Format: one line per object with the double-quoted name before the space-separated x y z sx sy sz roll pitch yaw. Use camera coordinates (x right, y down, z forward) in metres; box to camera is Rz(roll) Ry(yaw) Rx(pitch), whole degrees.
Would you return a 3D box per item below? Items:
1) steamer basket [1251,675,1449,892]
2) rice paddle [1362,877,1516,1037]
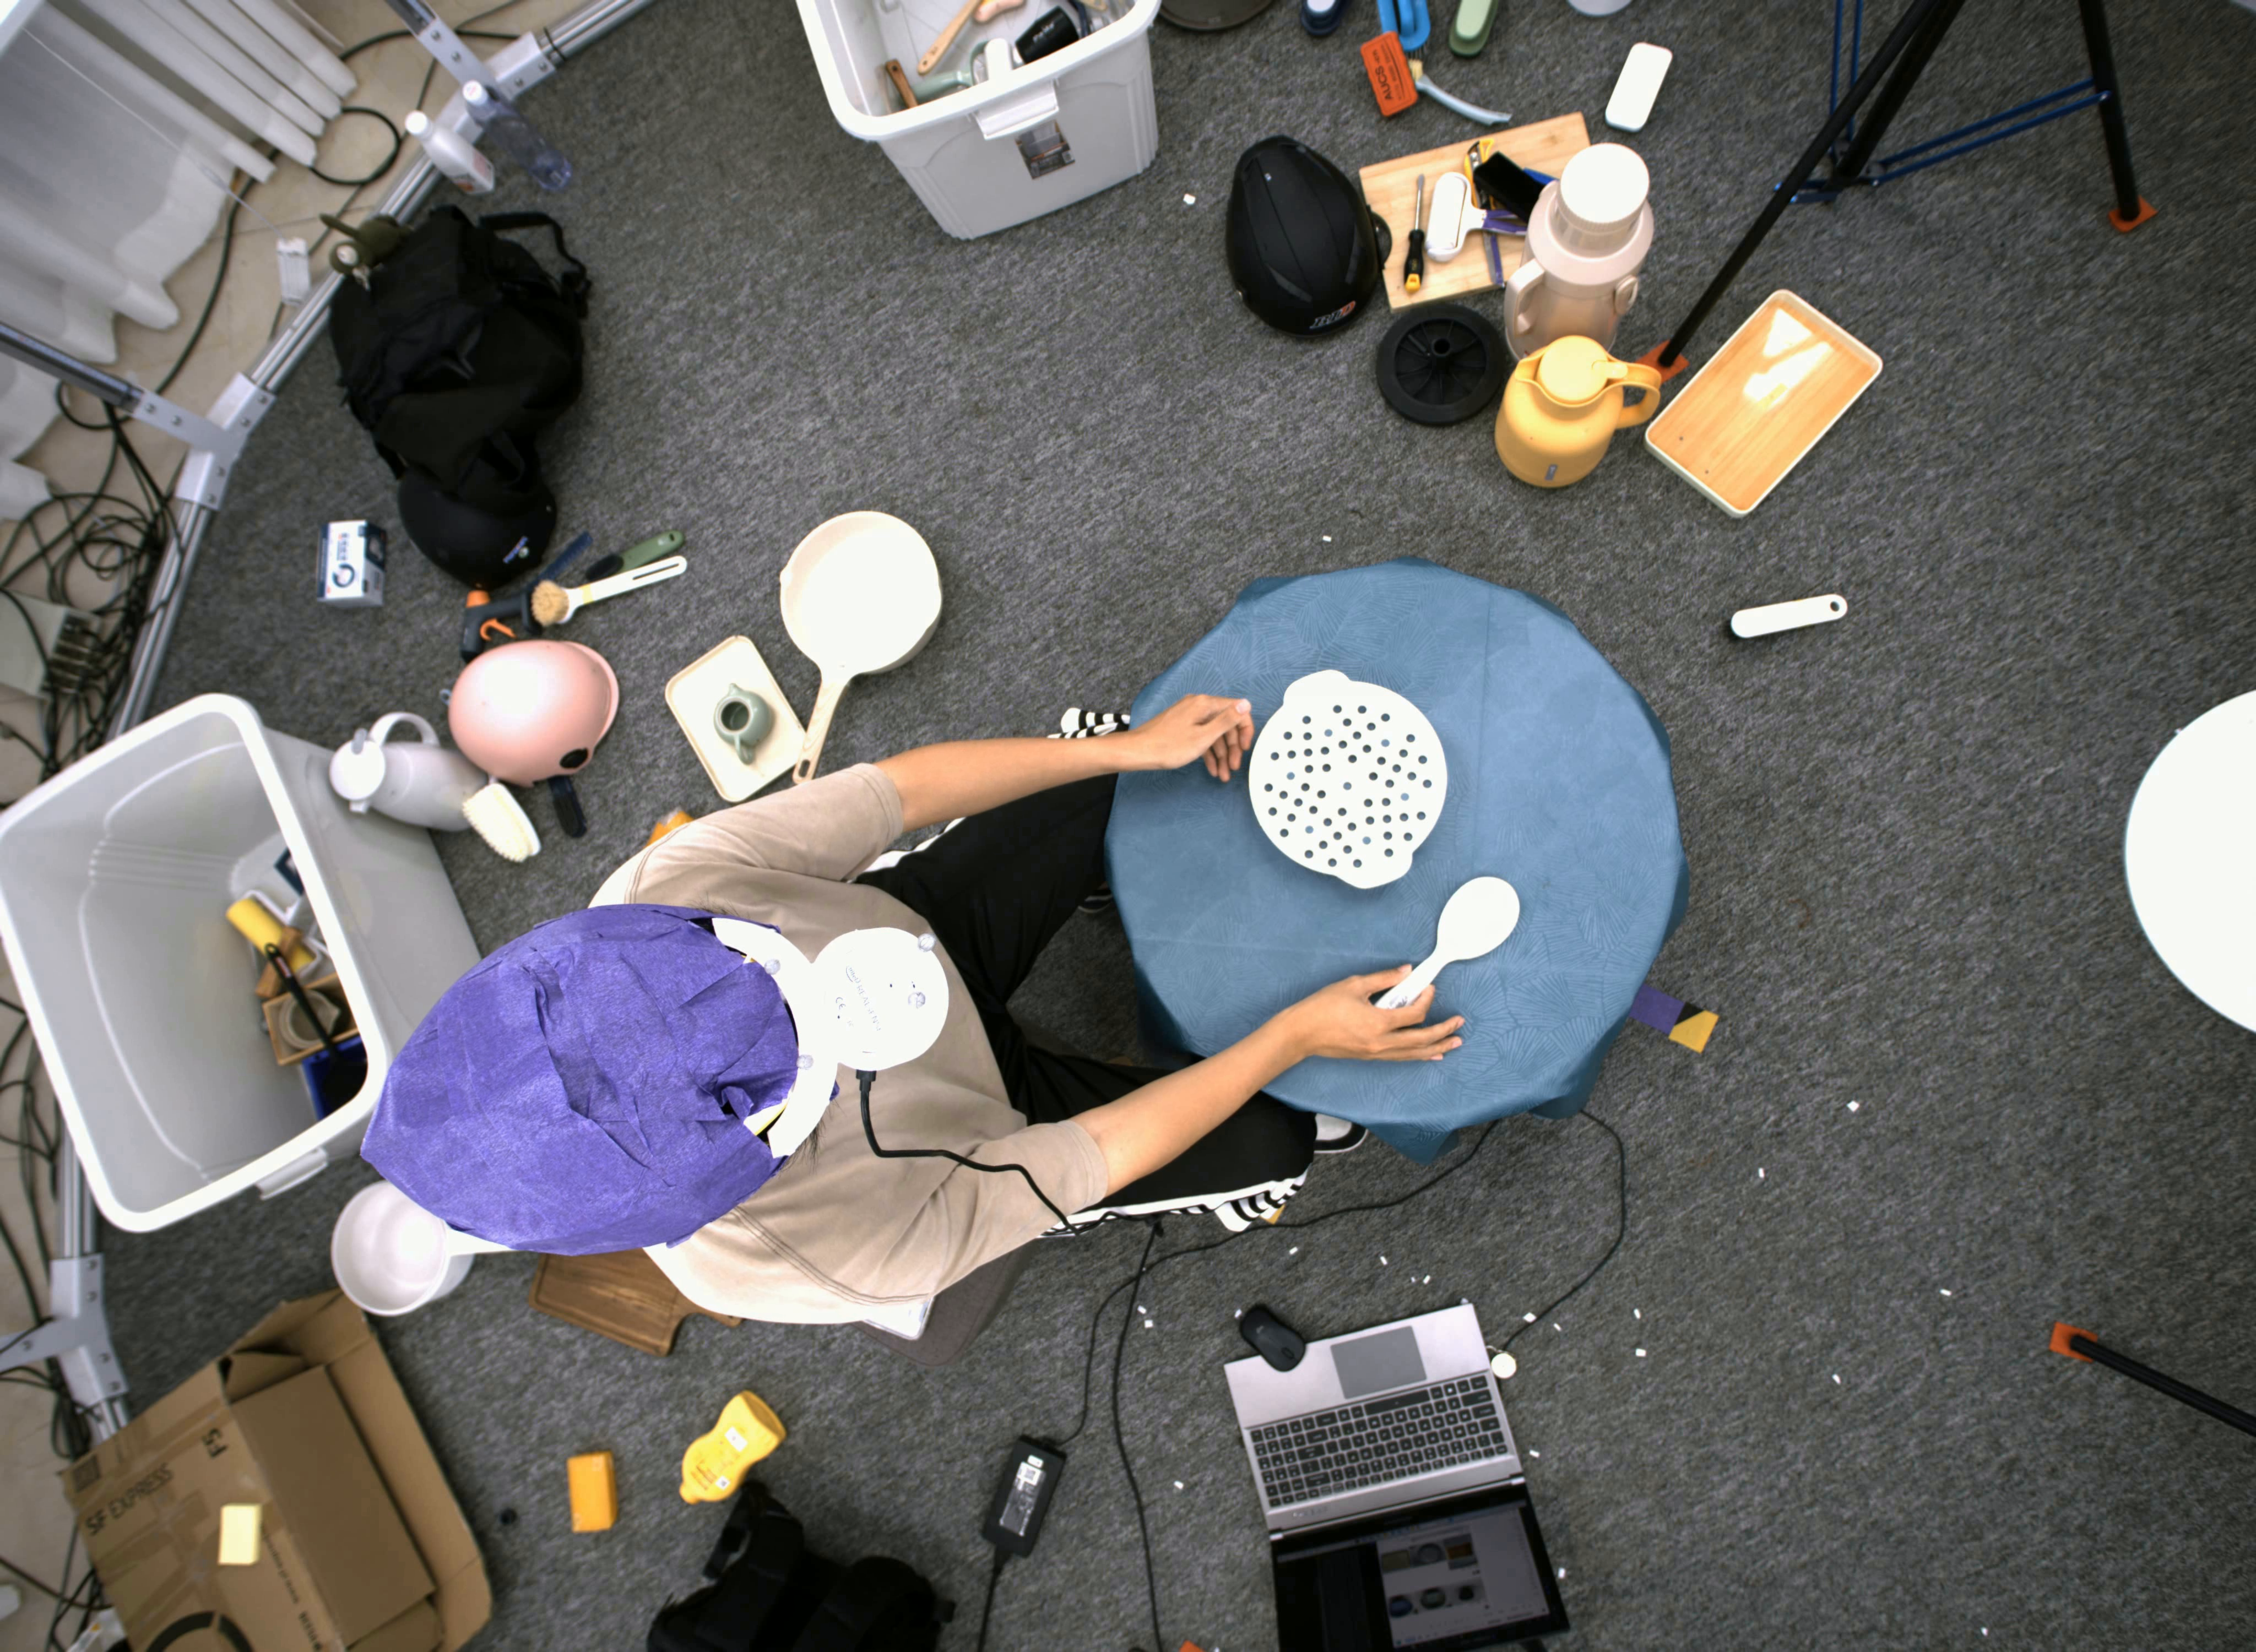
"steamer basket" 0.231 -0.043 1.442 0.203 0.069 0.229 -19 82 8
"rice paddle" 0.323 0.133 1.432 0.068 0.029 0.206 44 95 9
